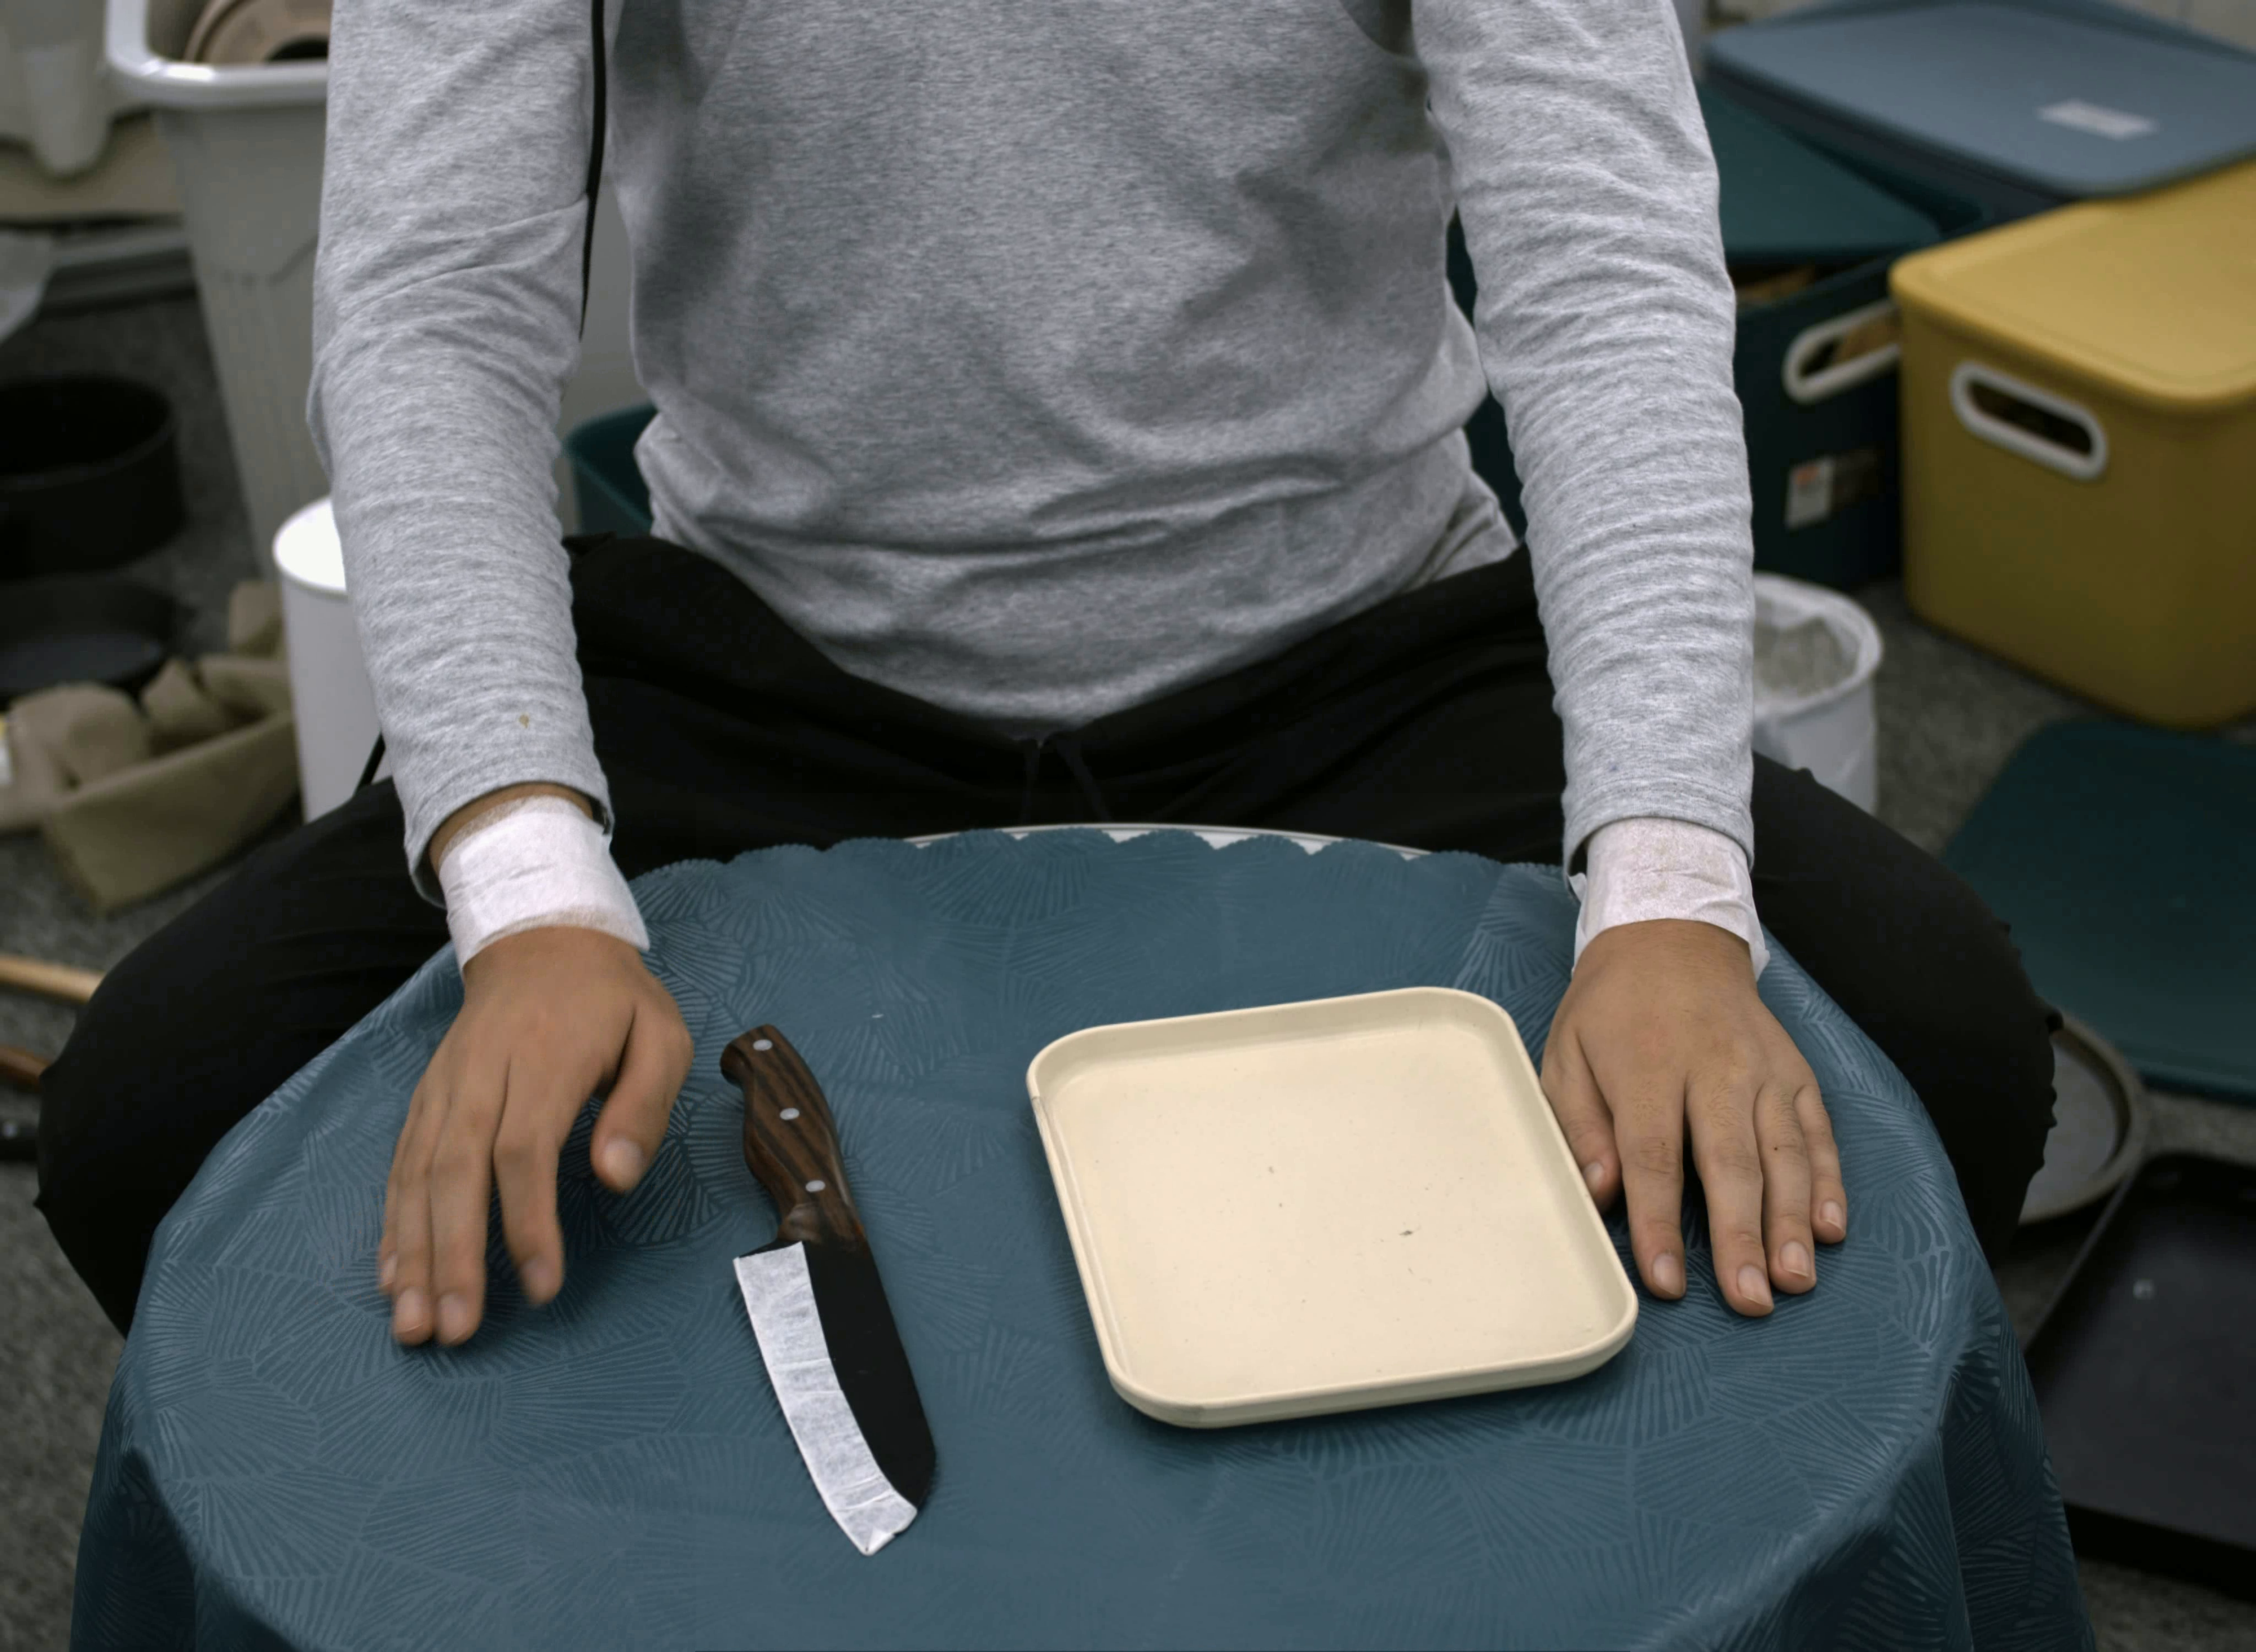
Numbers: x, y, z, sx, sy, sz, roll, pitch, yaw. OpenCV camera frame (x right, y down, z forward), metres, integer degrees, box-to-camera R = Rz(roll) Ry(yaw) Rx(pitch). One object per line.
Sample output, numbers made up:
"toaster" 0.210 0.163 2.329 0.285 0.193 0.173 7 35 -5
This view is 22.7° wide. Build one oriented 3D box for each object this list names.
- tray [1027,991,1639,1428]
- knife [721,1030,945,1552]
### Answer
"tray" 0.063 0.124 1.833 0.171 0.017 0.243 -6 27 -7
"knife" -0.100 0.147 1.805 0.050 0.020 0.293 -11 30 -6
